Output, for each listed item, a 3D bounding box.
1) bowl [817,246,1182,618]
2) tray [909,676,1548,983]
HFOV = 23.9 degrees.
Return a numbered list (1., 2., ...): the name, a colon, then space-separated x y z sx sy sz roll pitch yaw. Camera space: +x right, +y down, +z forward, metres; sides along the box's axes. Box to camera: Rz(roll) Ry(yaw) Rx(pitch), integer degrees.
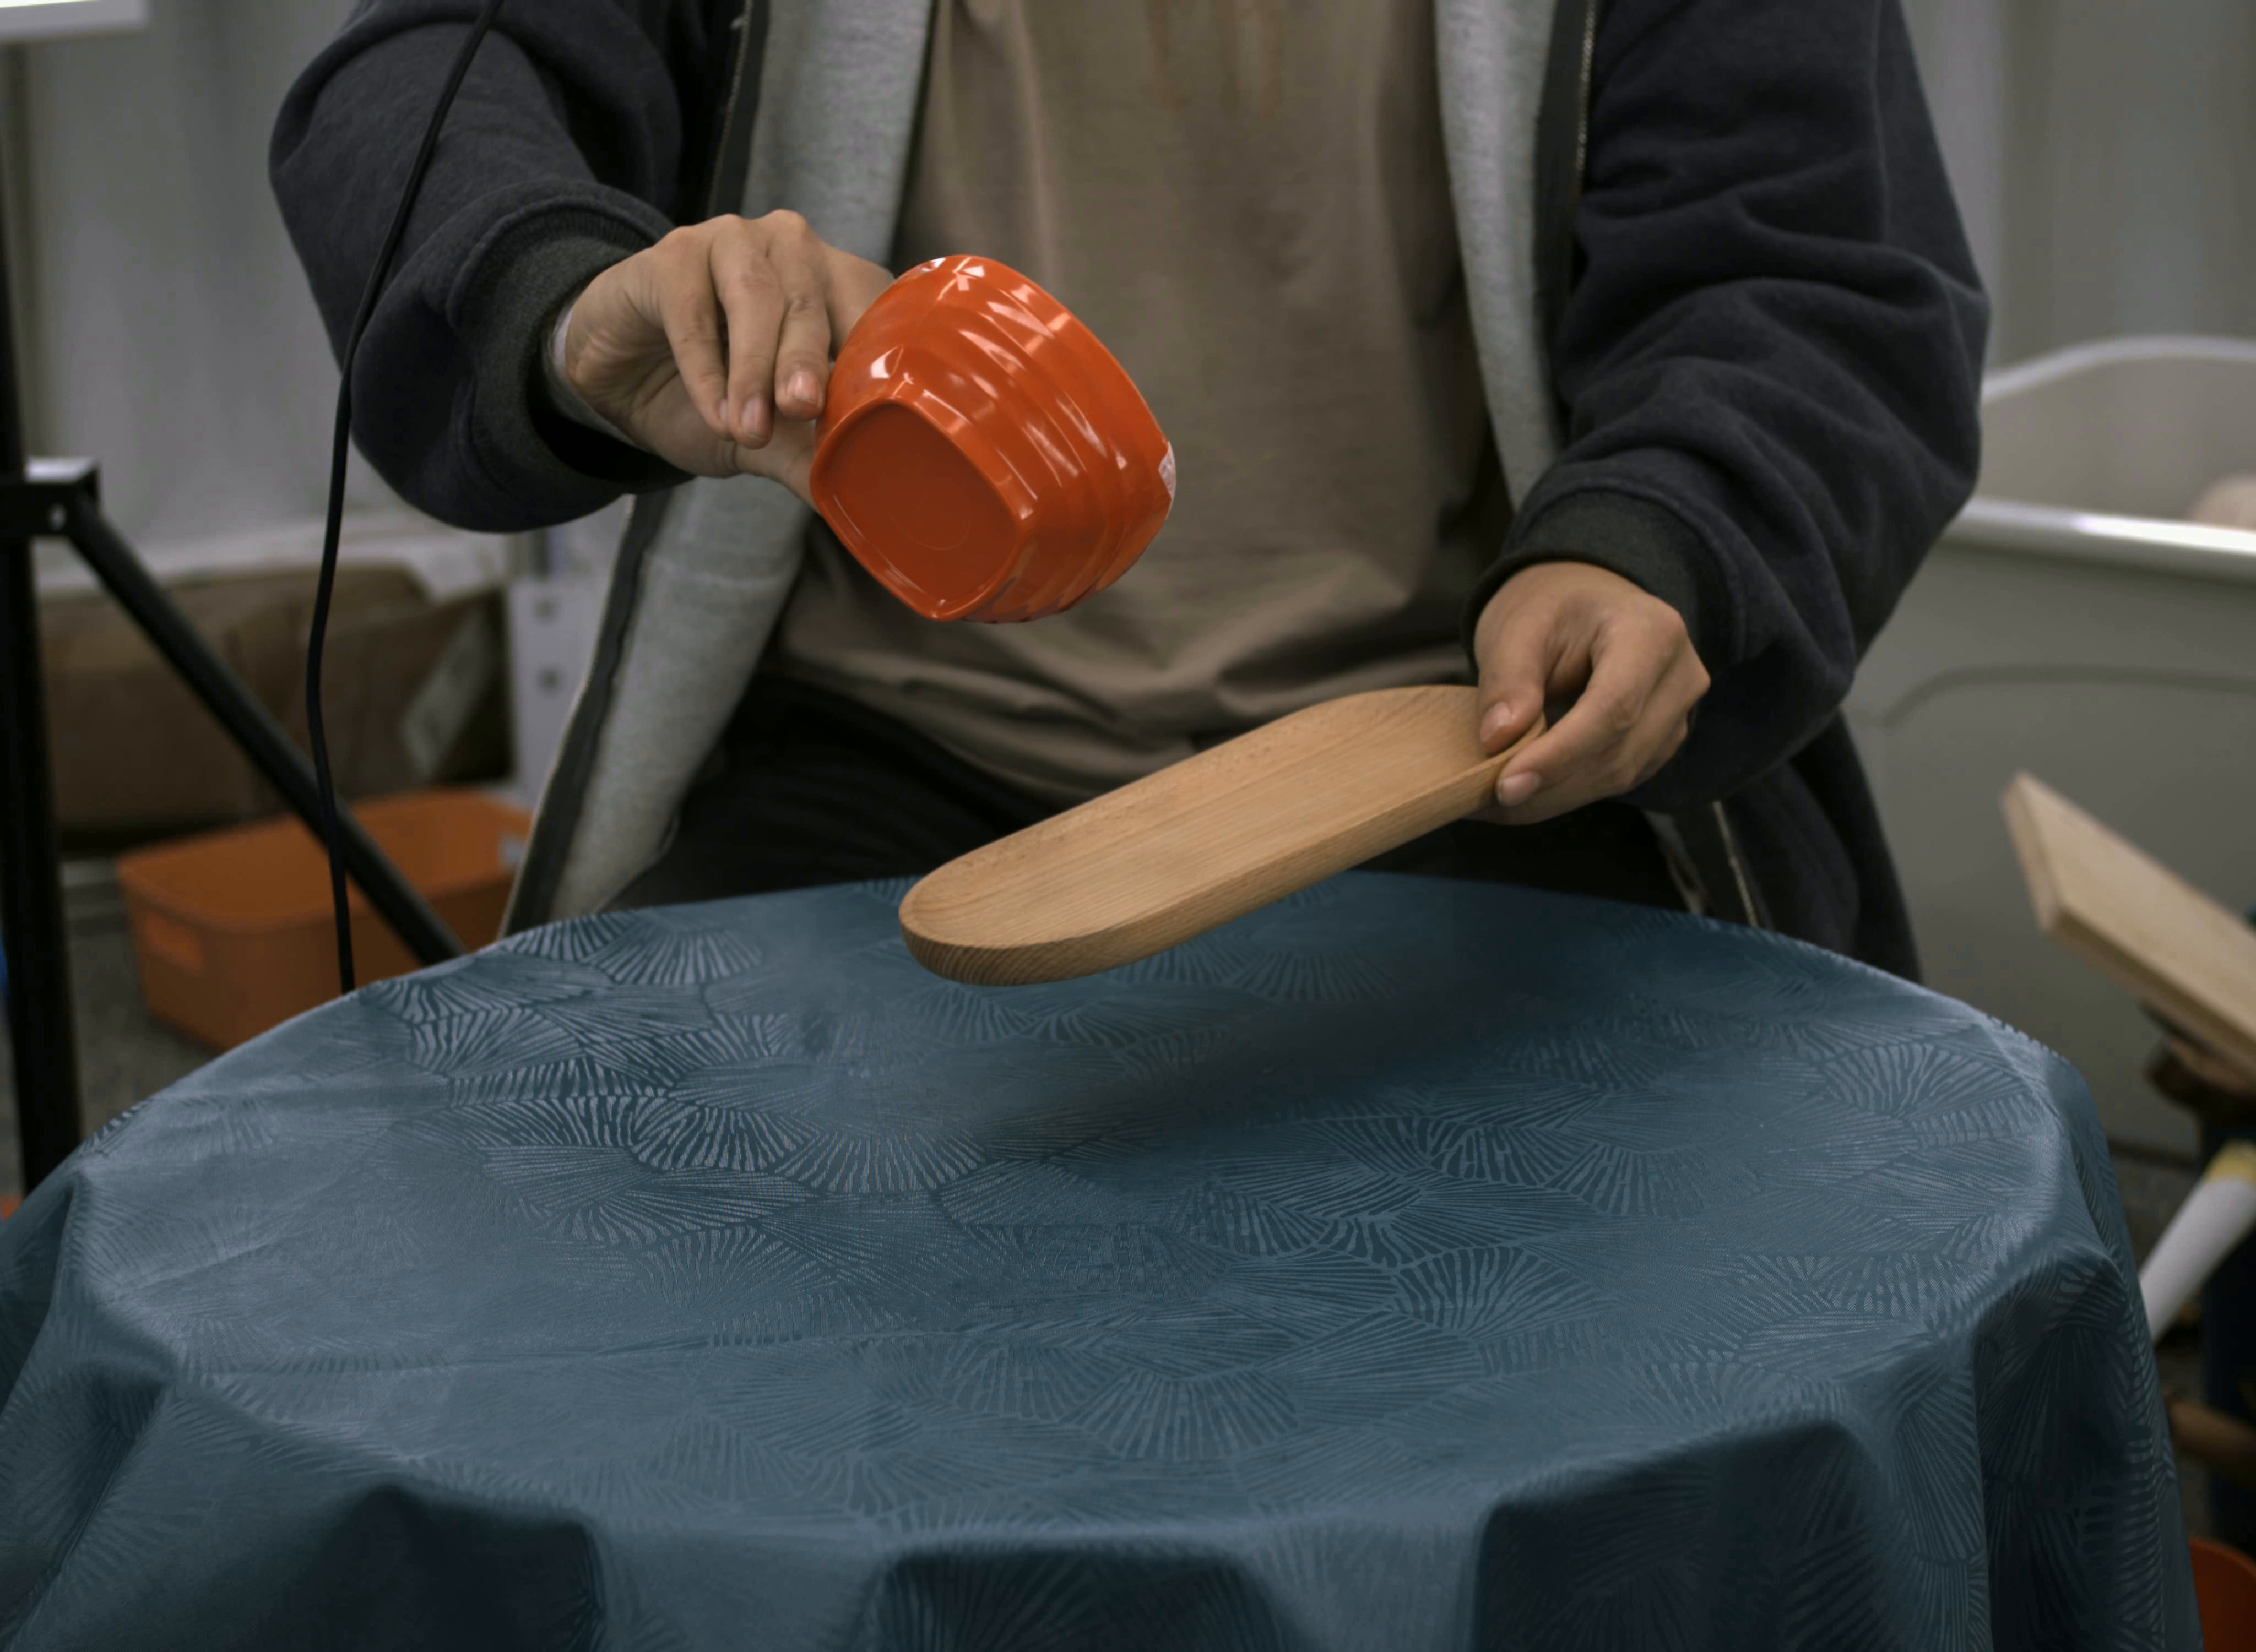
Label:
1. bowl: -0.047 -0.106 1.565 0.121 0.118 0.051 10 38 36
2. tray: 0.034 0.000 1.639 0.226 0.020 0.104 -23 23 -33
